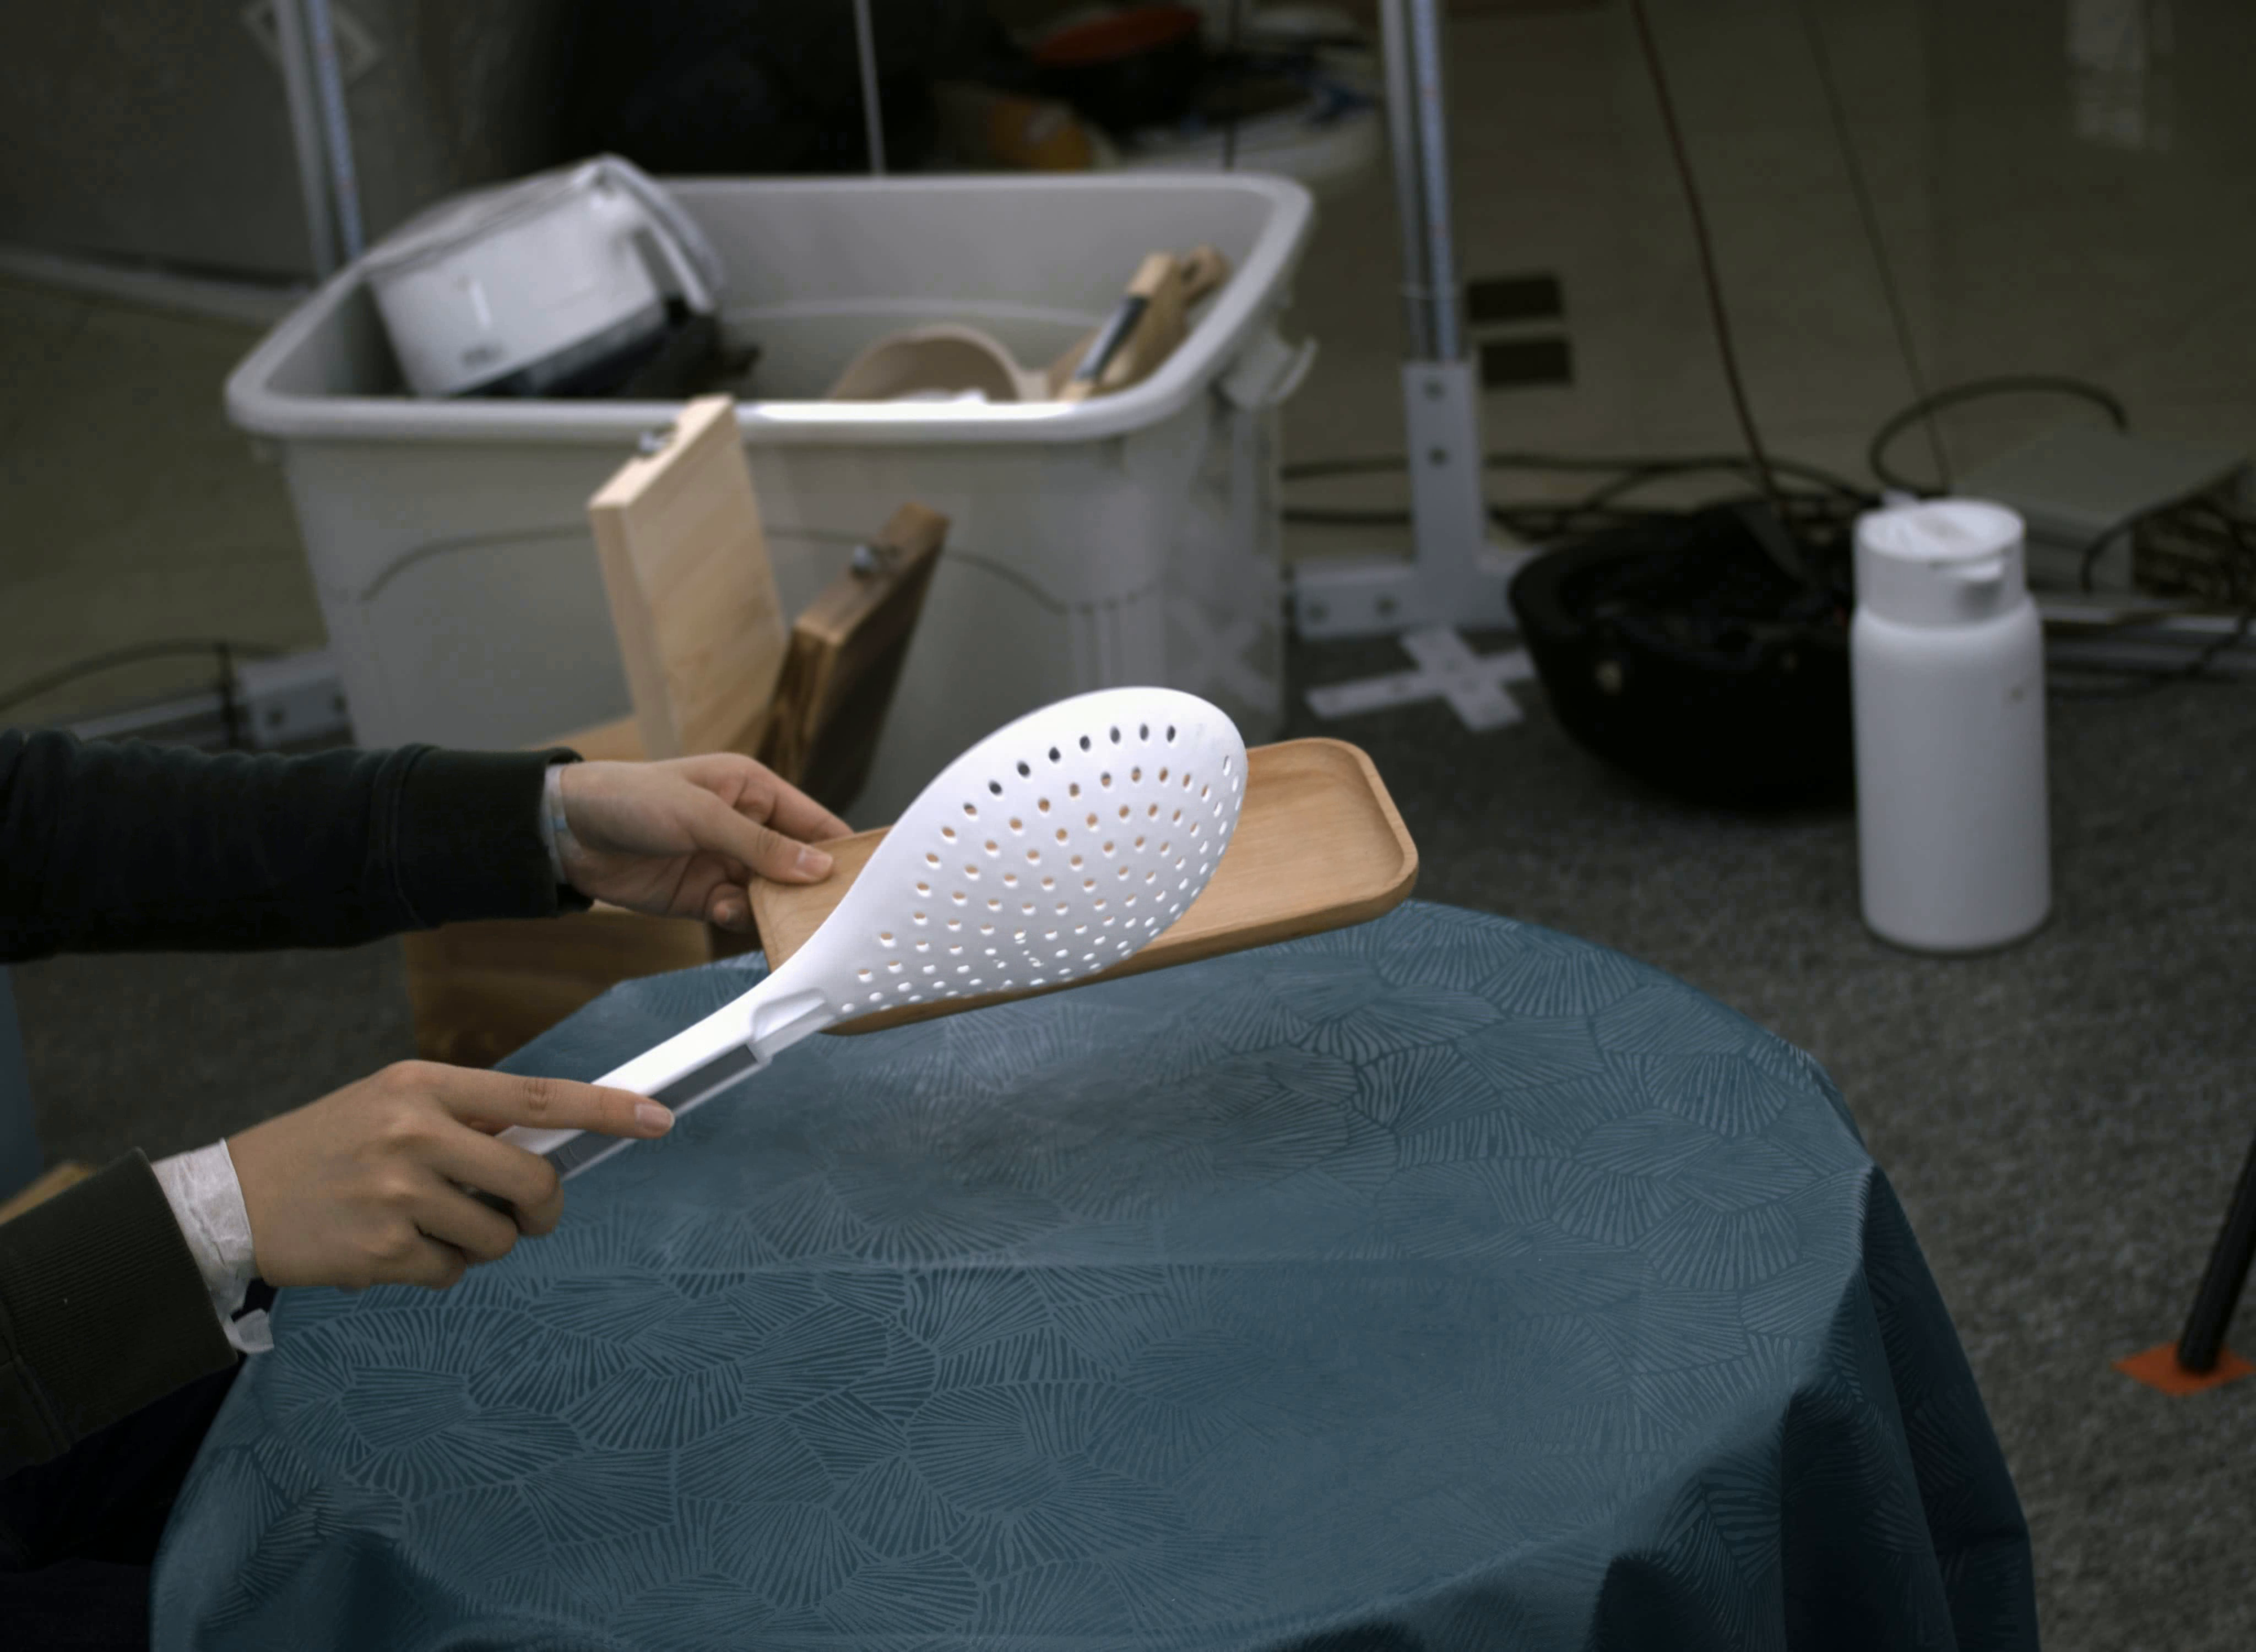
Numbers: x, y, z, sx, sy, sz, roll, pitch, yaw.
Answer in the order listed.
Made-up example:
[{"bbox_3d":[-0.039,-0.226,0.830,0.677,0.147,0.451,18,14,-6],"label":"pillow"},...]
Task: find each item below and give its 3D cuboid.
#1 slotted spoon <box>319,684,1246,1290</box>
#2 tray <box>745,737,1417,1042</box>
[{"bbox_3d":[-0.113,0.060,1.886,0.349,0.138,0.045,-26,57,3],"label":"slotted spoon"},{"bbox_3d":[-0.019,0.024,2.178,0.250,0.023,0.128,-13,30,-6],"label":"tray"}]
